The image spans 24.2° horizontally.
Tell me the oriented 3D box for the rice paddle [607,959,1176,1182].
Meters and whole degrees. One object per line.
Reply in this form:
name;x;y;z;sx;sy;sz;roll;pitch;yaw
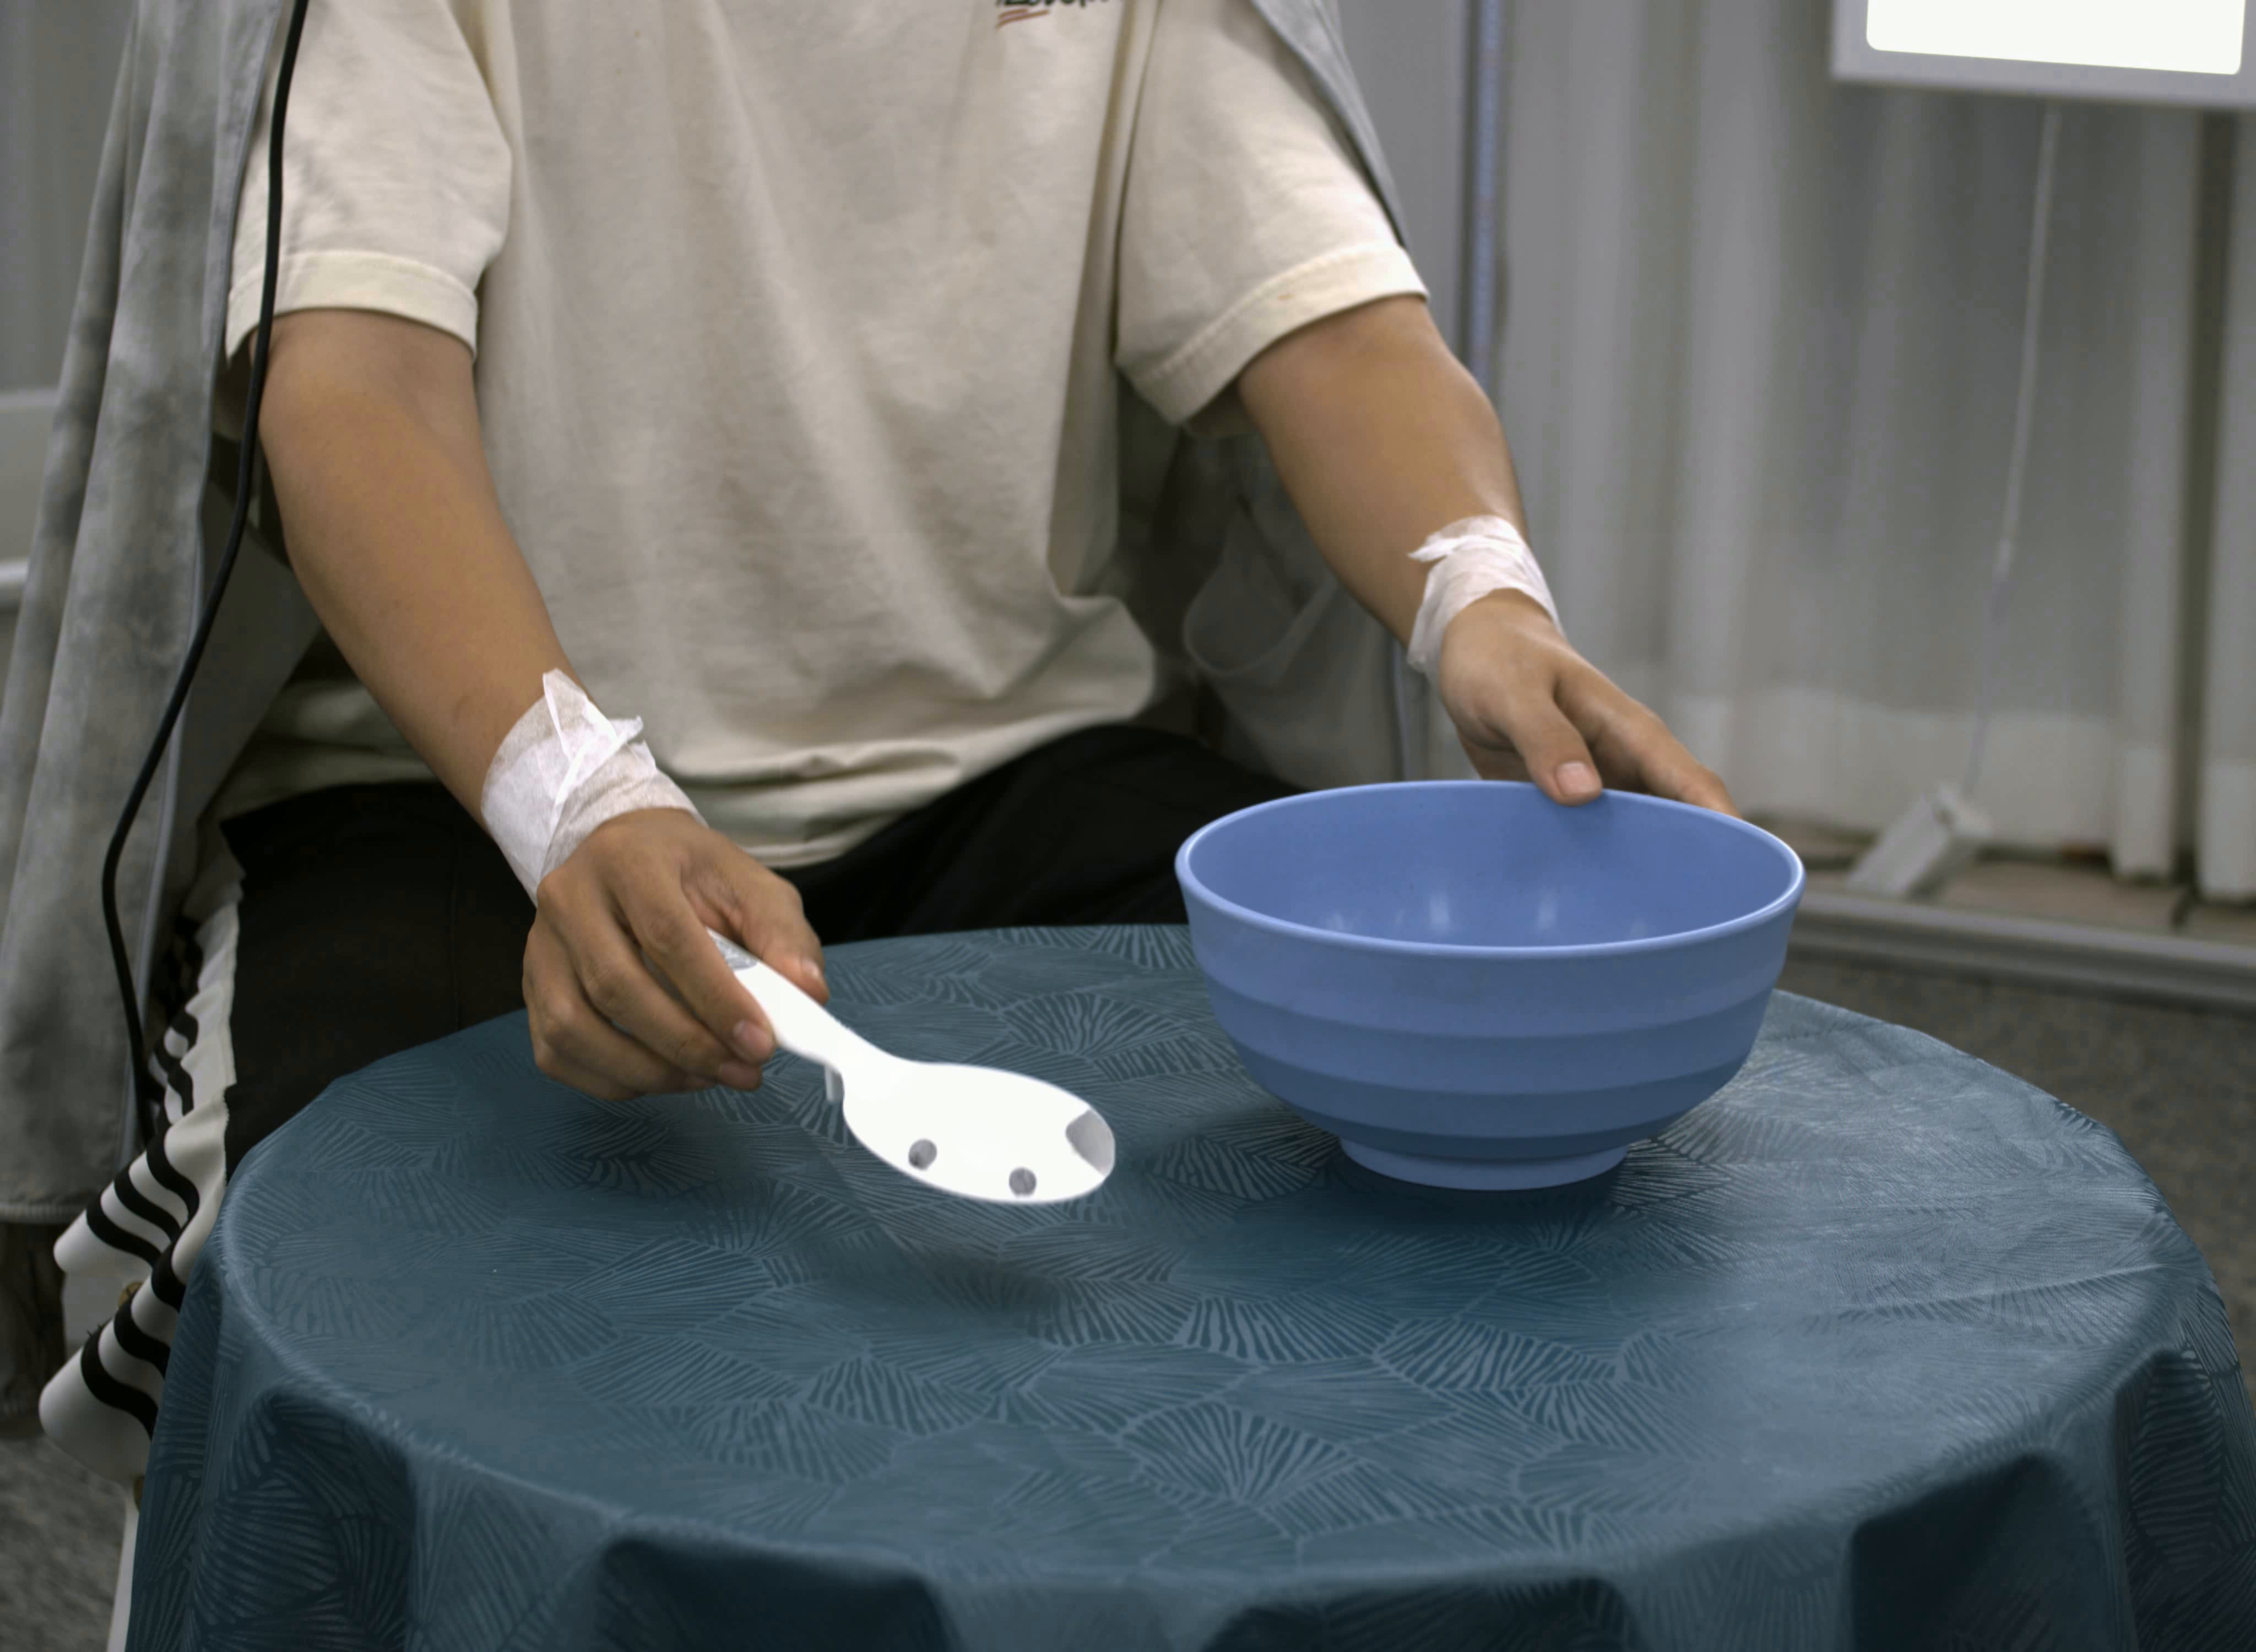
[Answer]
rice paddle;-0.071;0.076;1.577;0.202;0.029;0.069;15;14;35

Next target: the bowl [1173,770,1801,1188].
bowl;0.112;0.054;1.658;0.196;0.096;0.195;0;17;0
